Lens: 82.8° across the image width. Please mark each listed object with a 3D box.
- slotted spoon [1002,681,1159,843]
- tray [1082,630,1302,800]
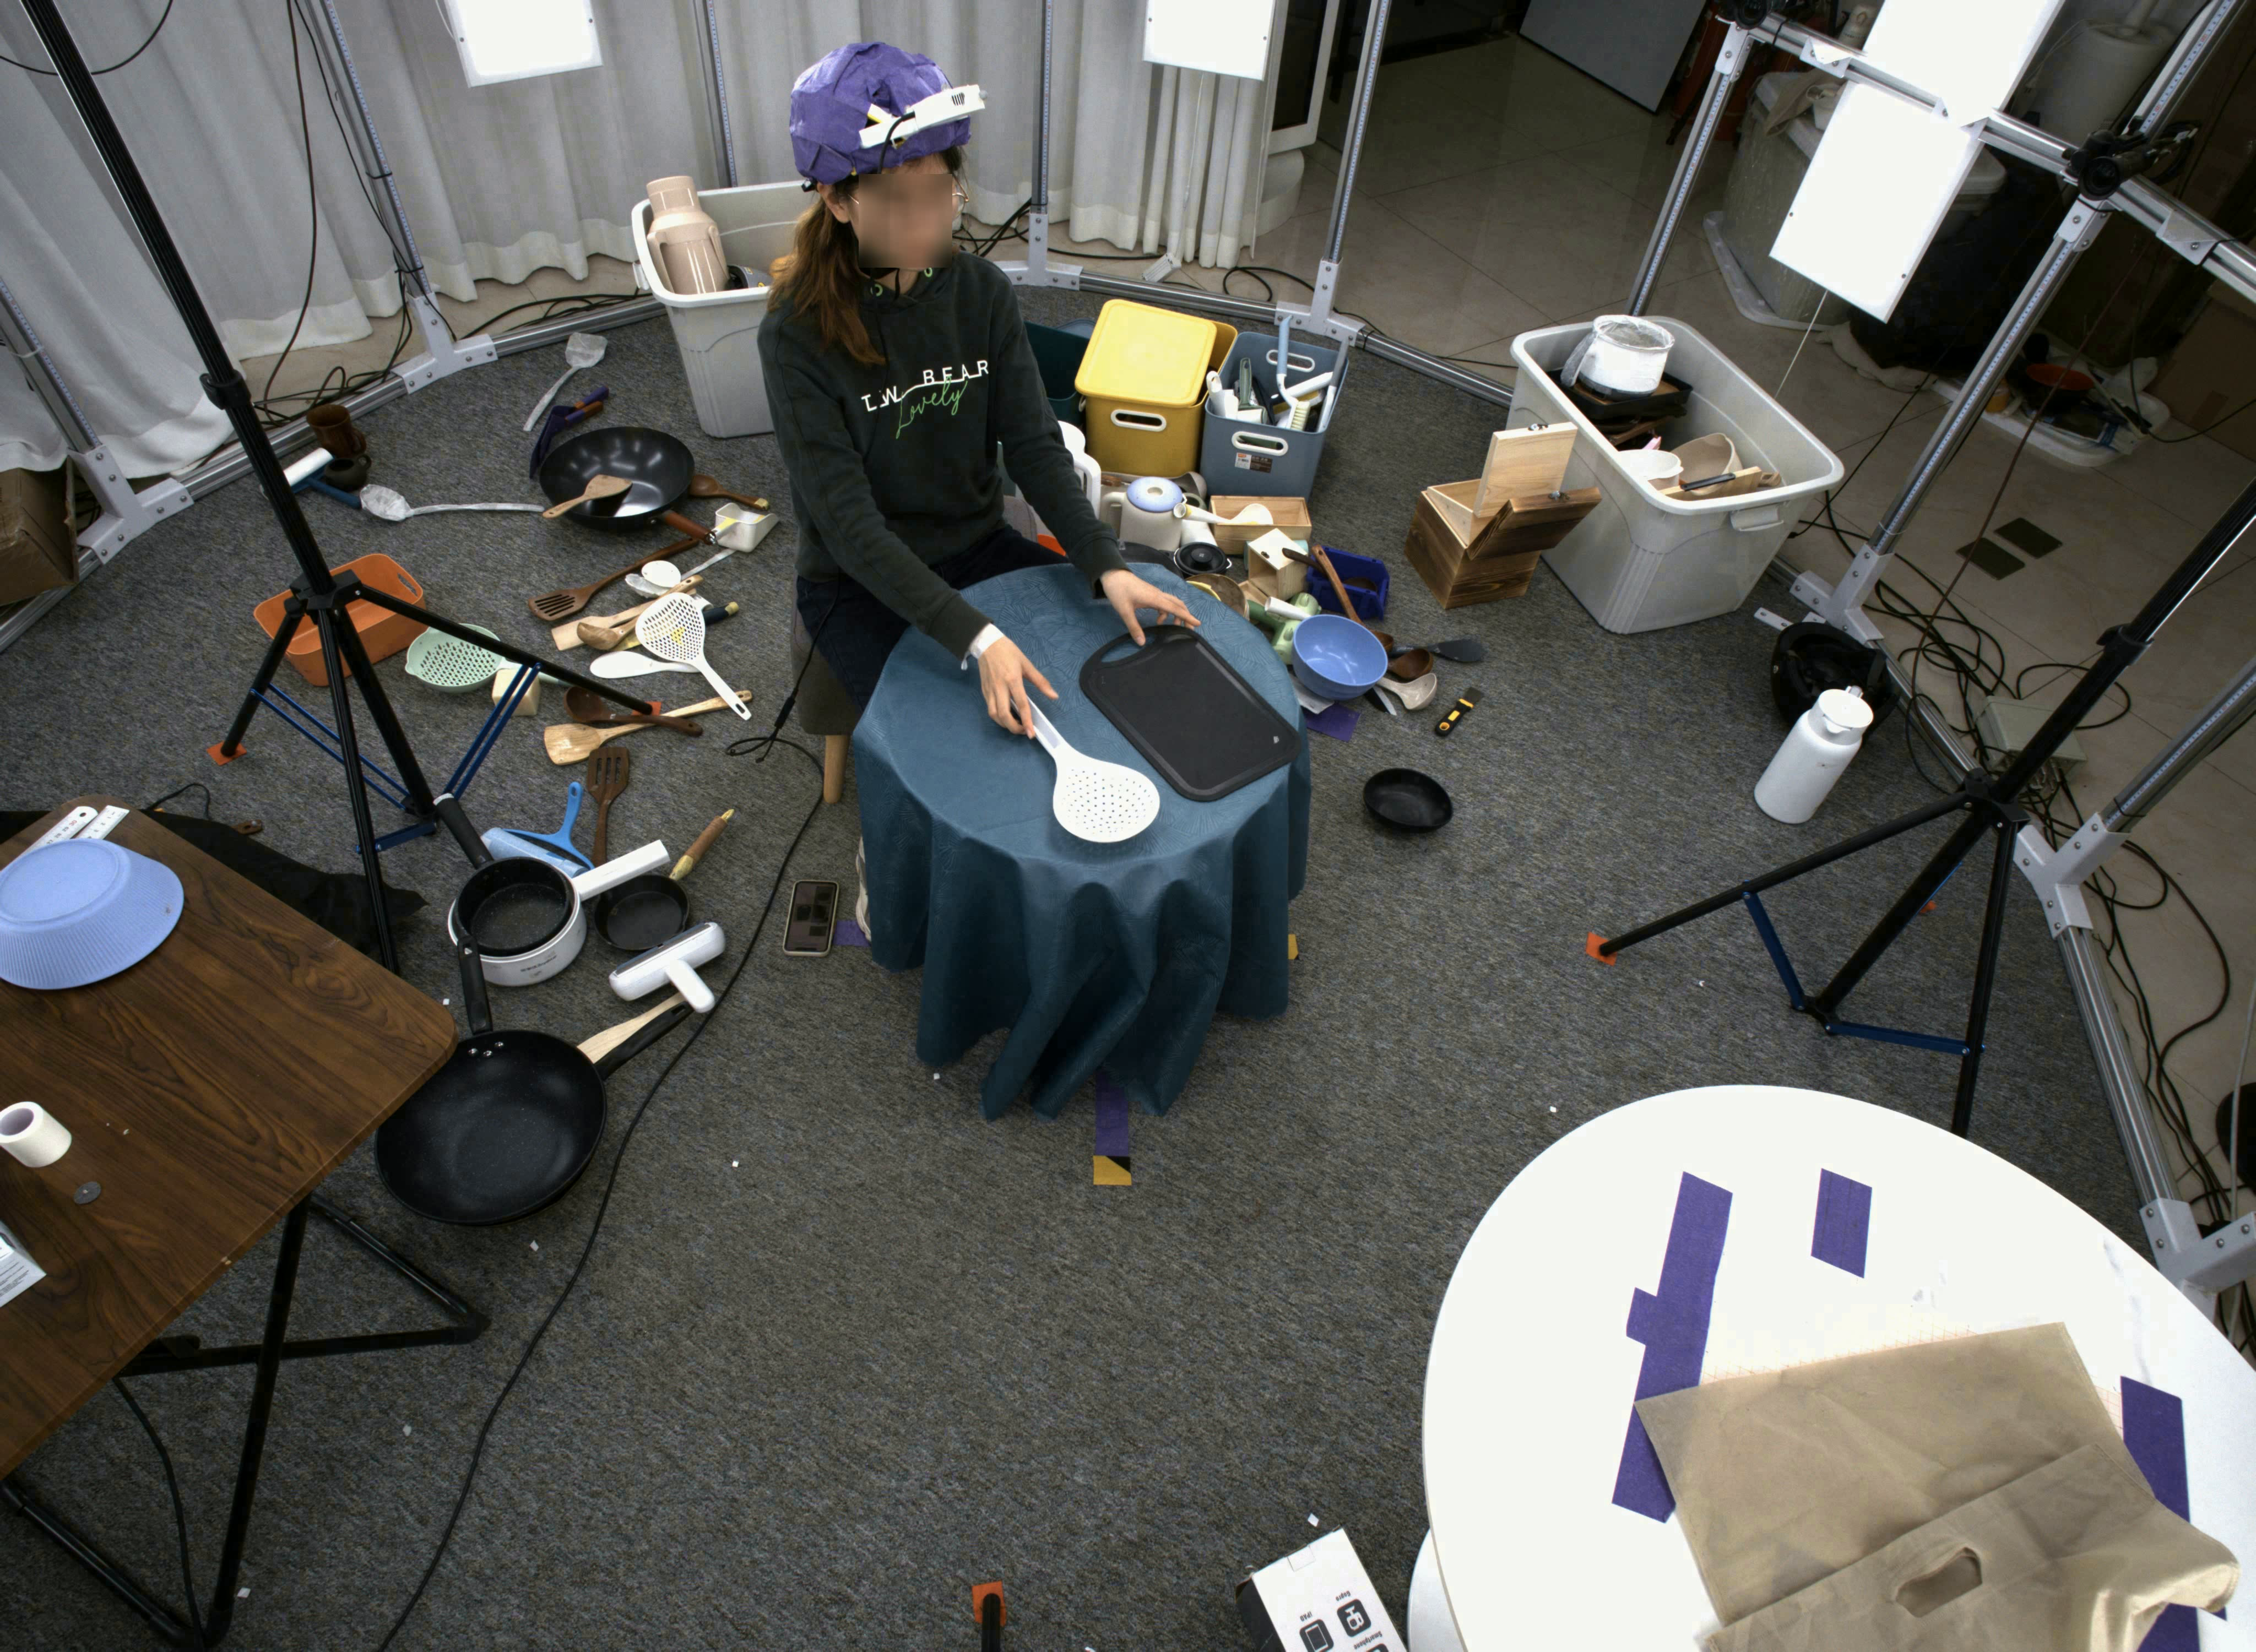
[{"bbox_3d":[-0.083,-0.092,1.729,0.136,0.044,0.357,-22,53,-21],"label":"slotted spoon"},{"bbox_3d":[0.083,-0.170,1.830,0.212,0.009,0.332,-26,56,-23],"label":"tray"}]
